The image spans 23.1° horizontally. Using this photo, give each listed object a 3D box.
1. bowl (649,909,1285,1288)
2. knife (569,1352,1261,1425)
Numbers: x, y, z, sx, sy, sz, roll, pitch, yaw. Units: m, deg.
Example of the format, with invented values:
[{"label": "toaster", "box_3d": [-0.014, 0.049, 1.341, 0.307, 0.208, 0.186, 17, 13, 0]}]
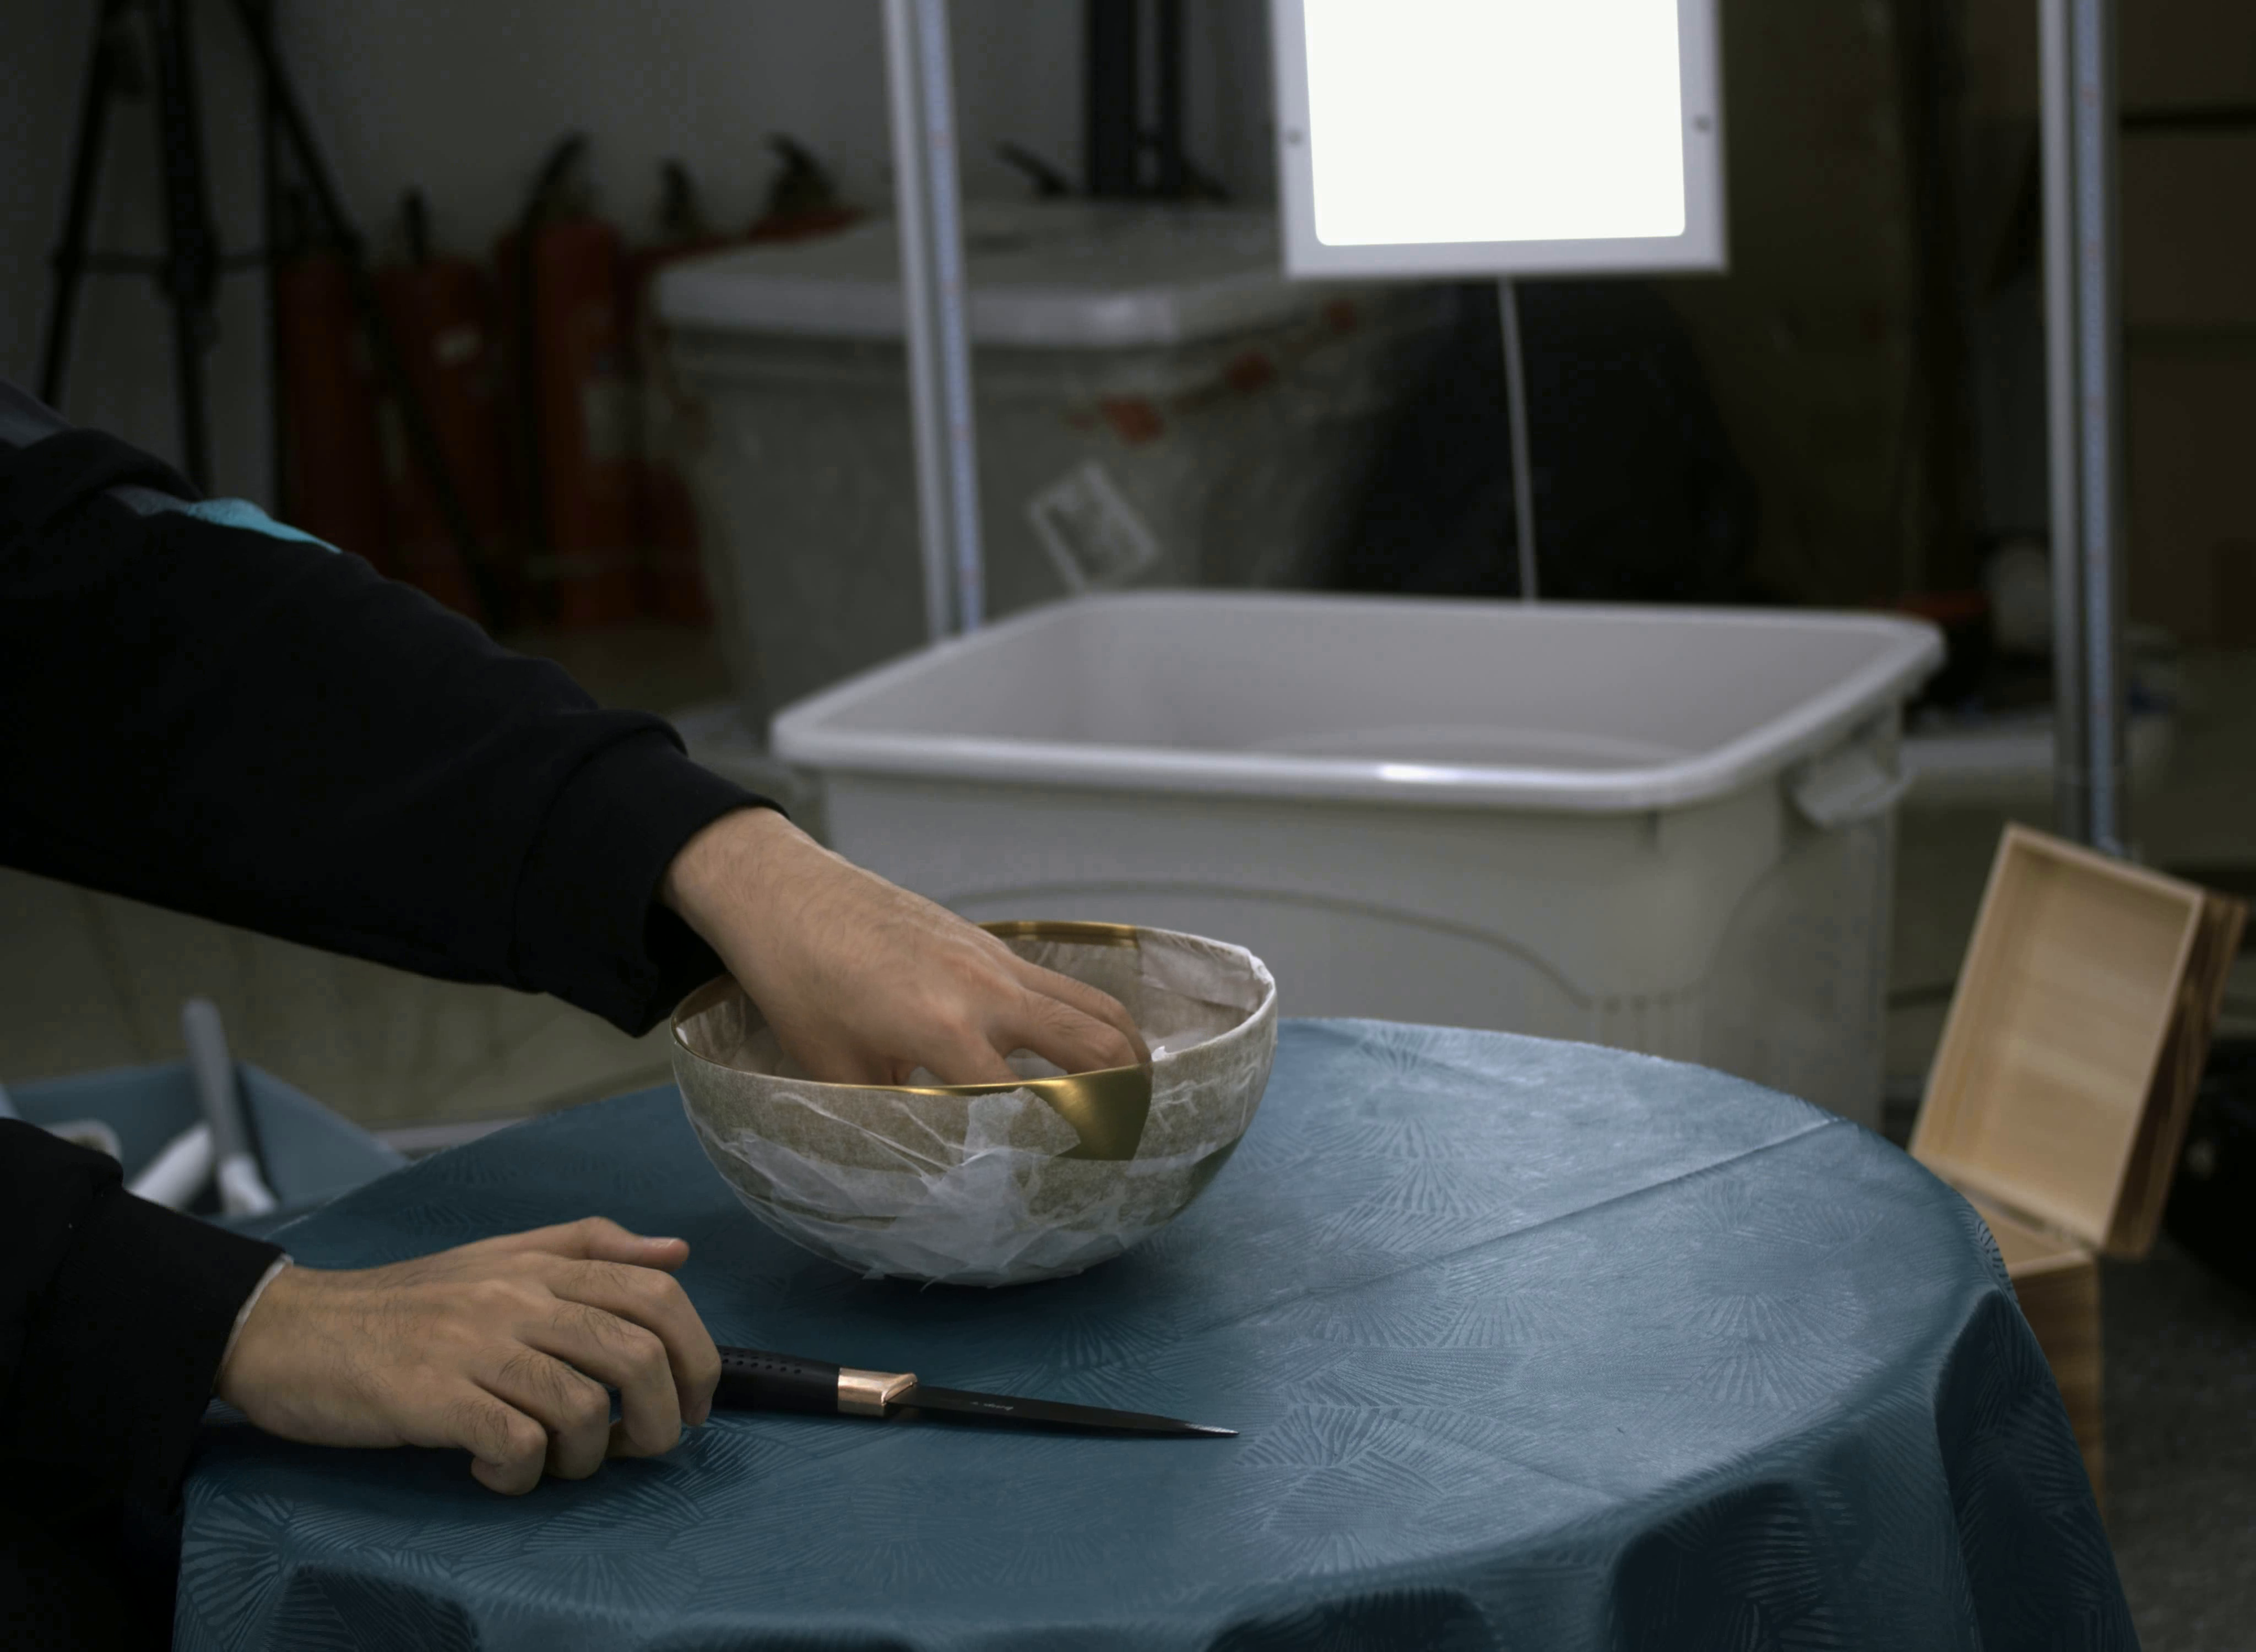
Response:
[{"label": "bowl", "box_3d": [-0.051, 0.098, 1.830, 0.214, 0.095, 0.214, -5, 15, 0]}, {"label": "knife", "box_3d": [-0.068, 0.176, 1.701, 0.229, 0.017, 0.026, 2, 9, 22]}]
